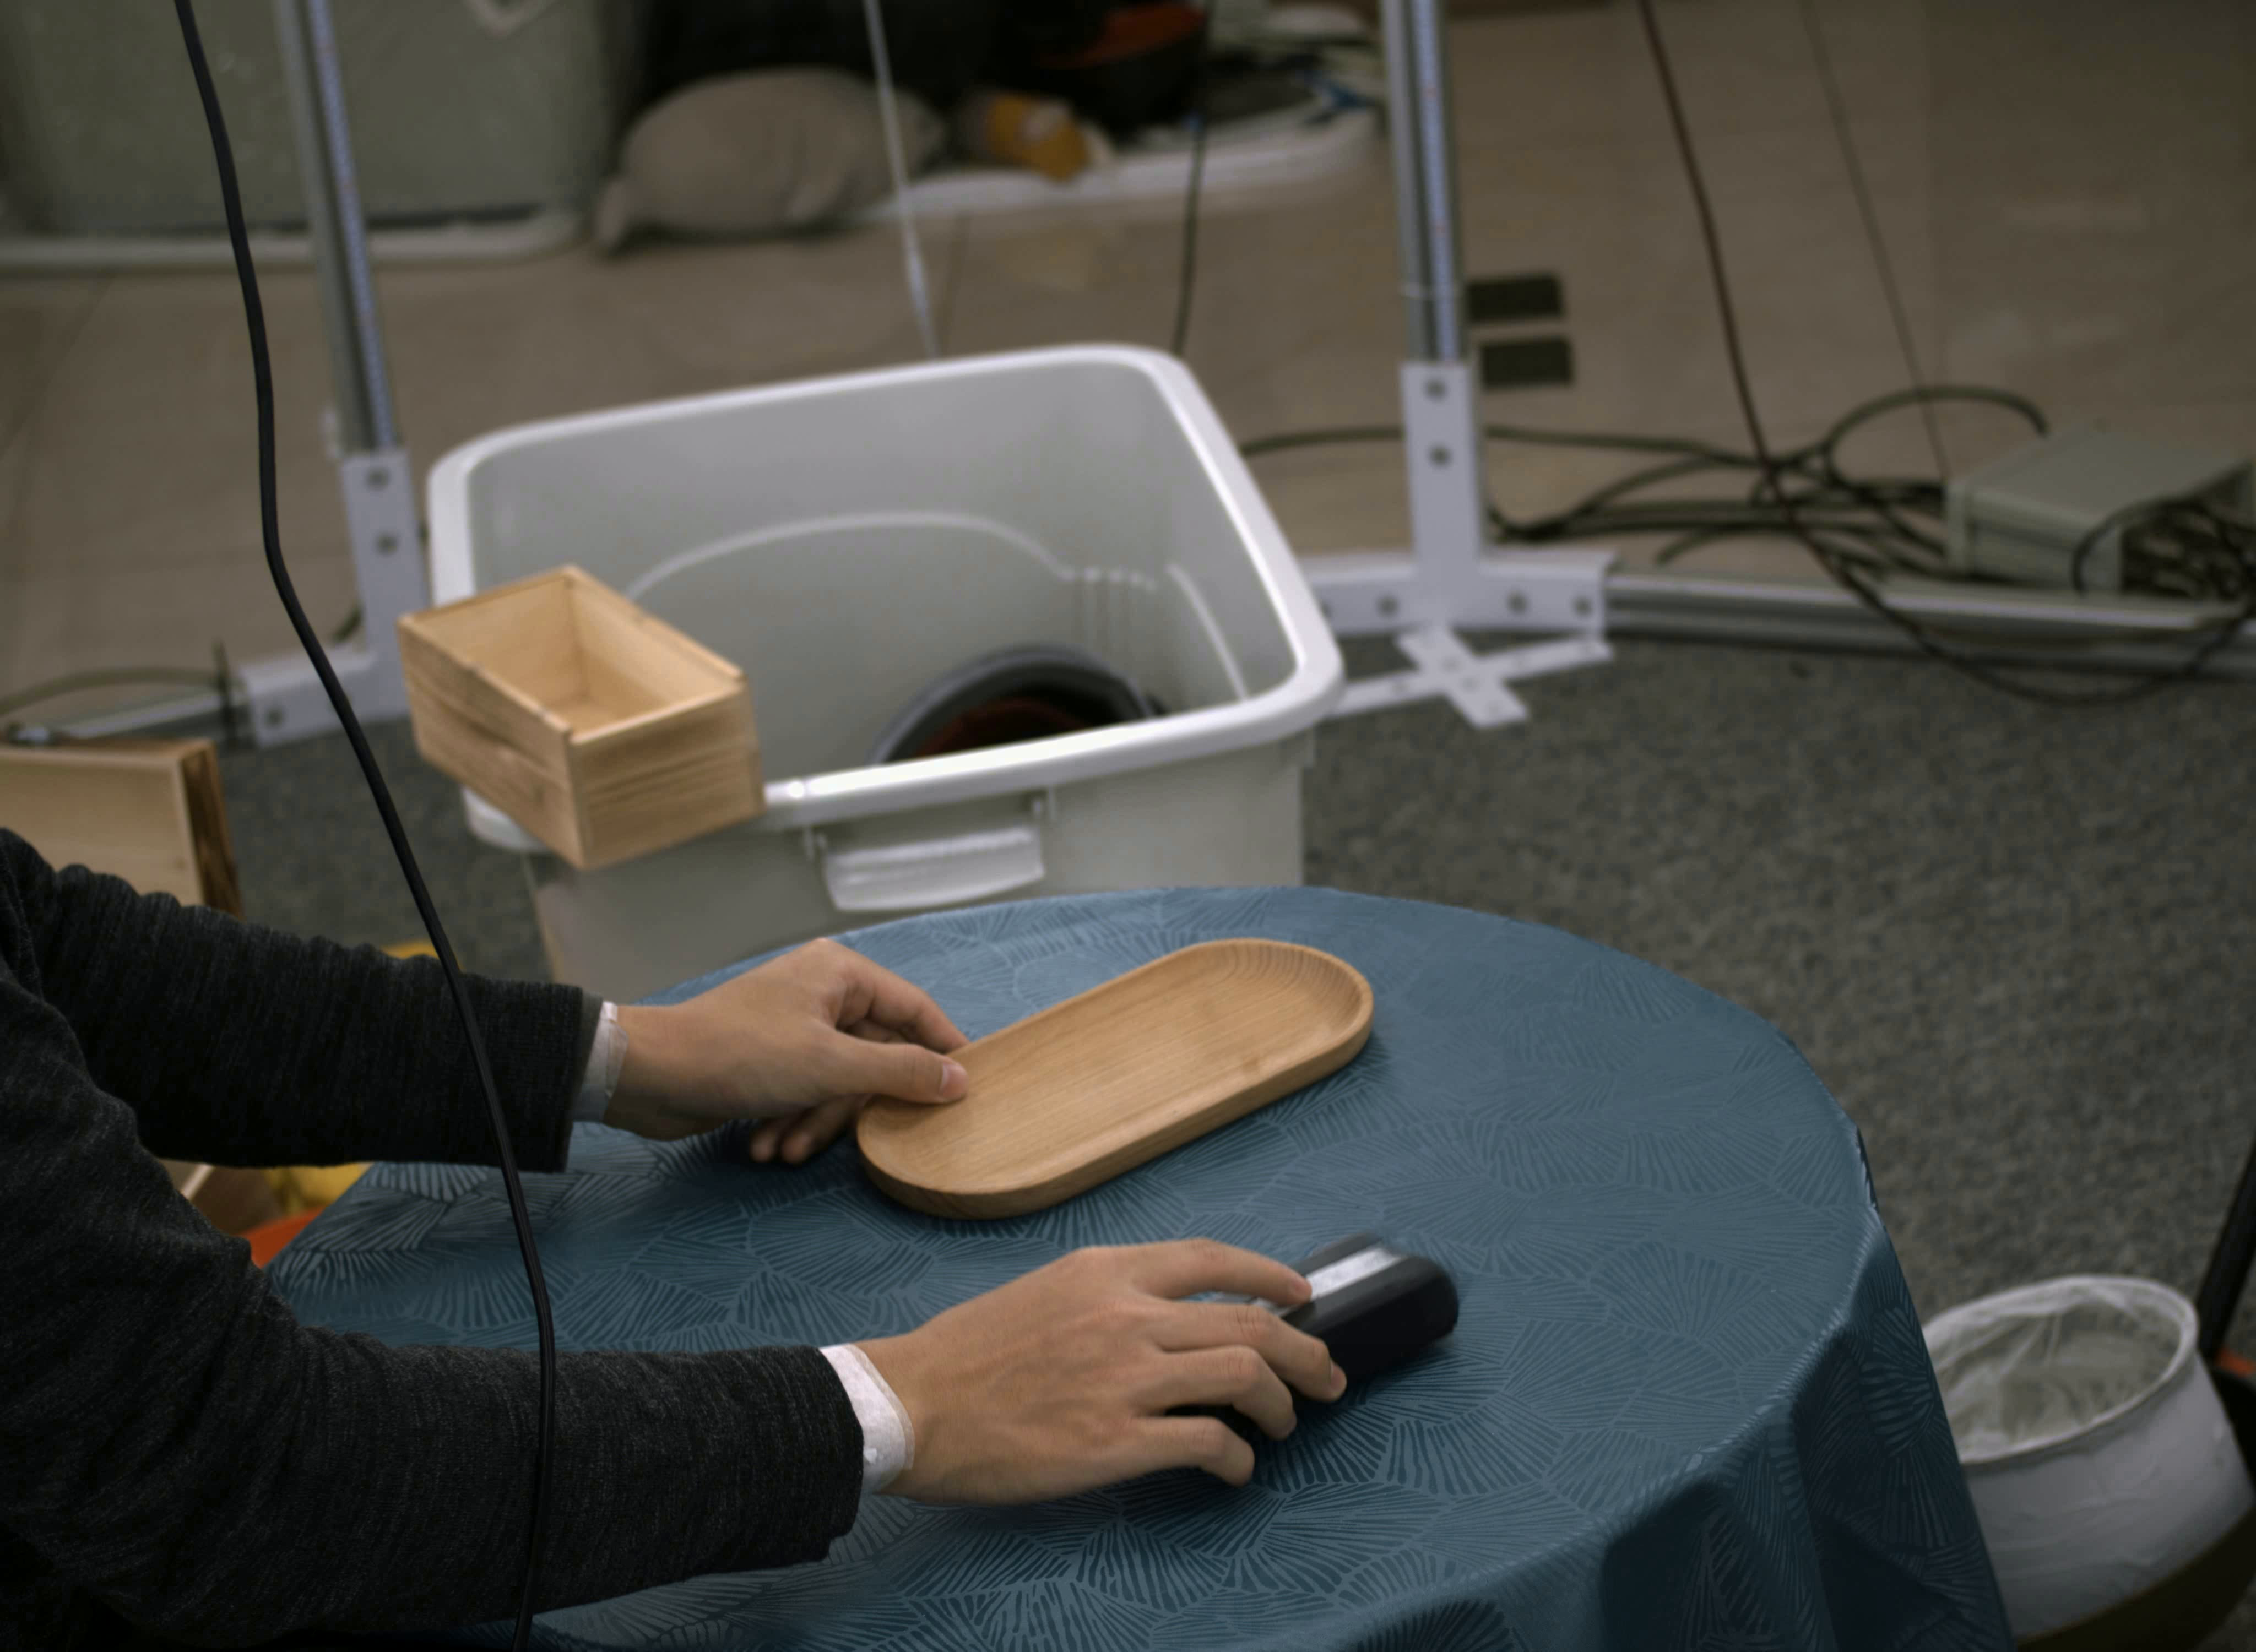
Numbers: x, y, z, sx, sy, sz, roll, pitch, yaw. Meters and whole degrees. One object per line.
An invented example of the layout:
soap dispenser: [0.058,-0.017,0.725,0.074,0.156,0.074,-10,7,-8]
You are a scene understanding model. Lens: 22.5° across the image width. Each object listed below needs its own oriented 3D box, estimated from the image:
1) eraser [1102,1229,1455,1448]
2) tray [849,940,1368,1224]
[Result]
eraser: [0.054,0.178,1.995,0.124,0.031,0.053,-23,24,-36]
tray: [-0.006,0.099,2.207,0.229,0.020,0.100,-25,36,-32]
